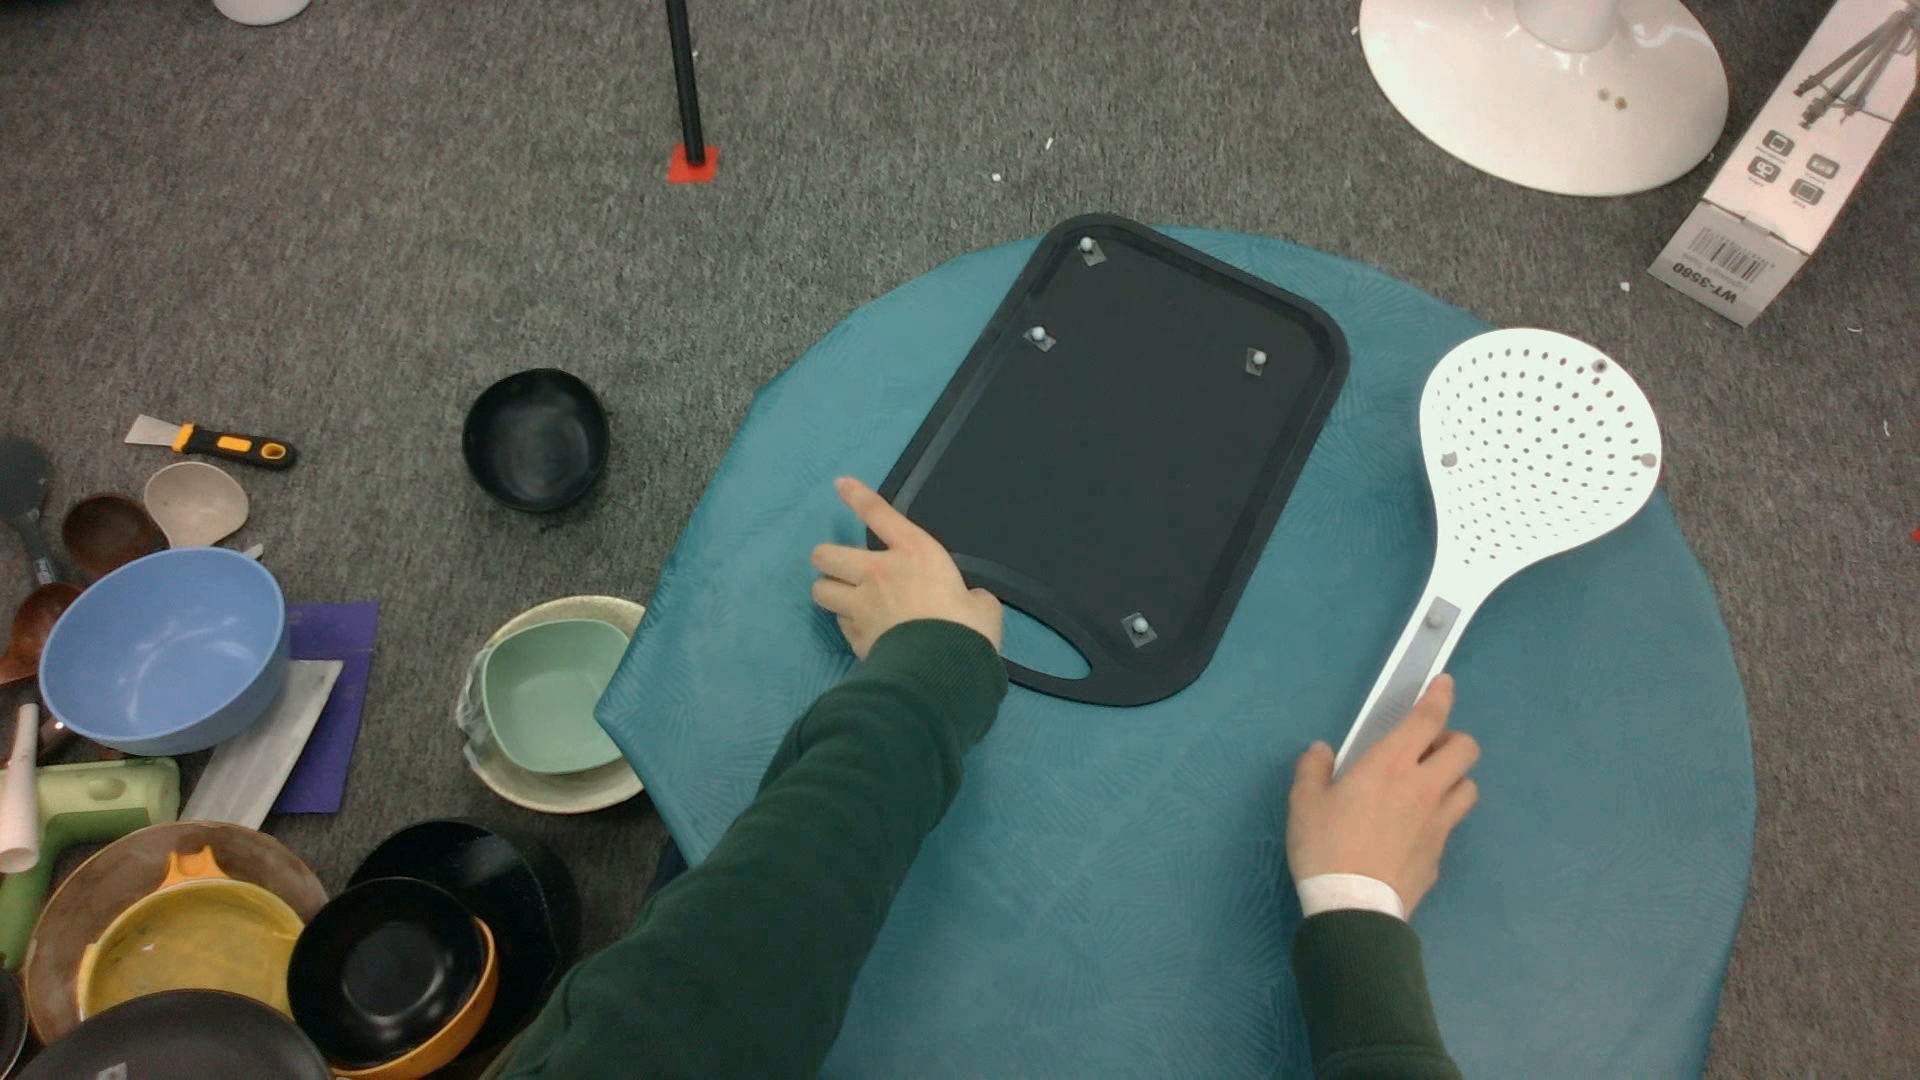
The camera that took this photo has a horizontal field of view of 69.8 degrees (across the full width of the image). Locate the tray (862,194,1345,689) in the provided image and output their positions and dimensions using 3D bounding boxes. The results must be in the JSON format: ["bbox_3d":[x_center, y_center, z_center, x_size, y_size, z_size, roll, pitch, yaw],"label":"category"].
[{"bbox_3d":[0.088,-0.067,0.807,0.211,0.010,0.327,27,64,9],"label":"tray"}]

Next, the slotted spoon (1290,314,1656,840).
[{"bbox_3d":[0.274,0.014,0.763,0.136,0.045,0.351,30,65,12],"label":"slotted spoon"}]
